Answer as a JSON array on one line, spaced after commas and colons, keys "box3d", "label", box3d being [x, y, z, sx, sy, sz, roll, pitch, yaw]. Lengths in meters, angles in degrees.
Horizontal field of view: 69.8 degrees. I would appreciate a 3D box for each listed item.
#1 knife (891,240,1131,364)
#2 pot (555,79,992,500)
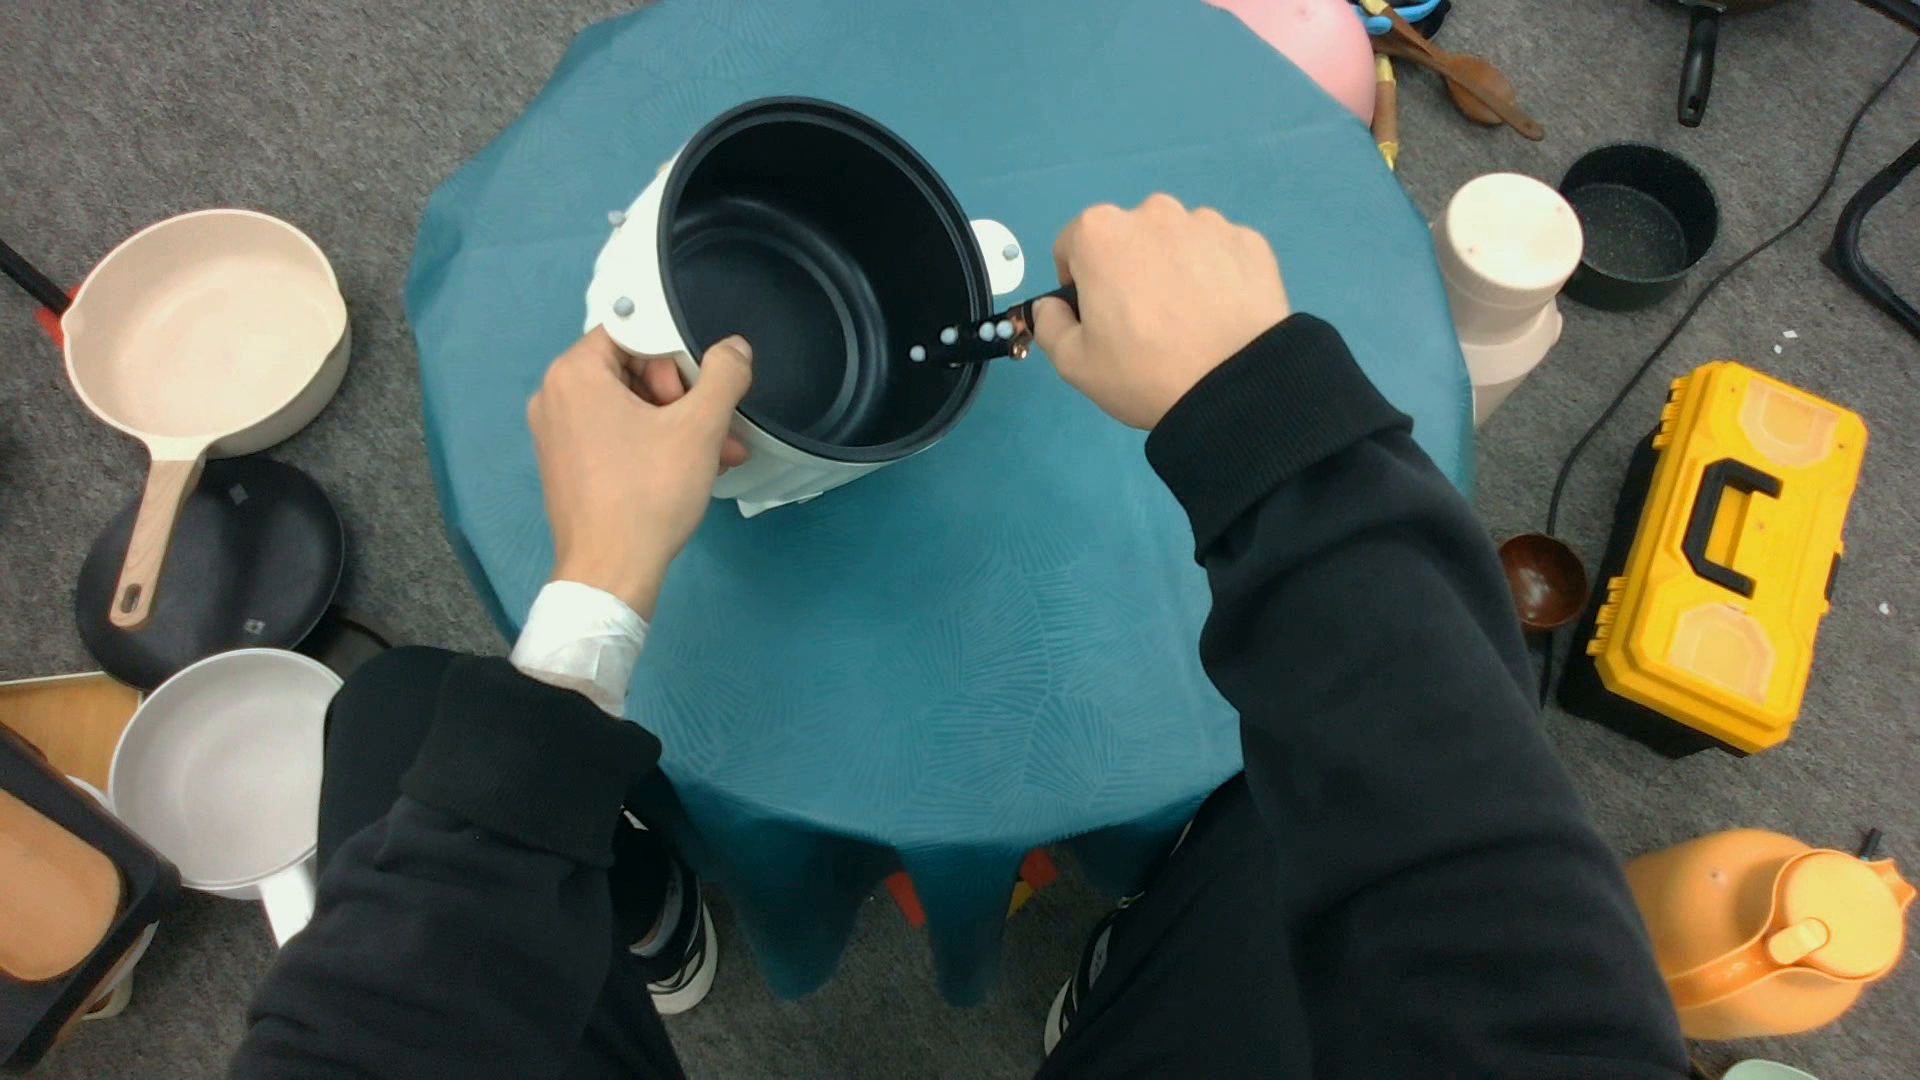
[{"box3d": [0.012, -0.105, 0.651, 0.017, 0.225, 0.026, -29, 100, -27], "label": "knife"}, {"box3d": [-0.112, -0.125, 0.701, 0.241, 0.142, 0.190, -21, 94, -39], "label": "pot"}]
